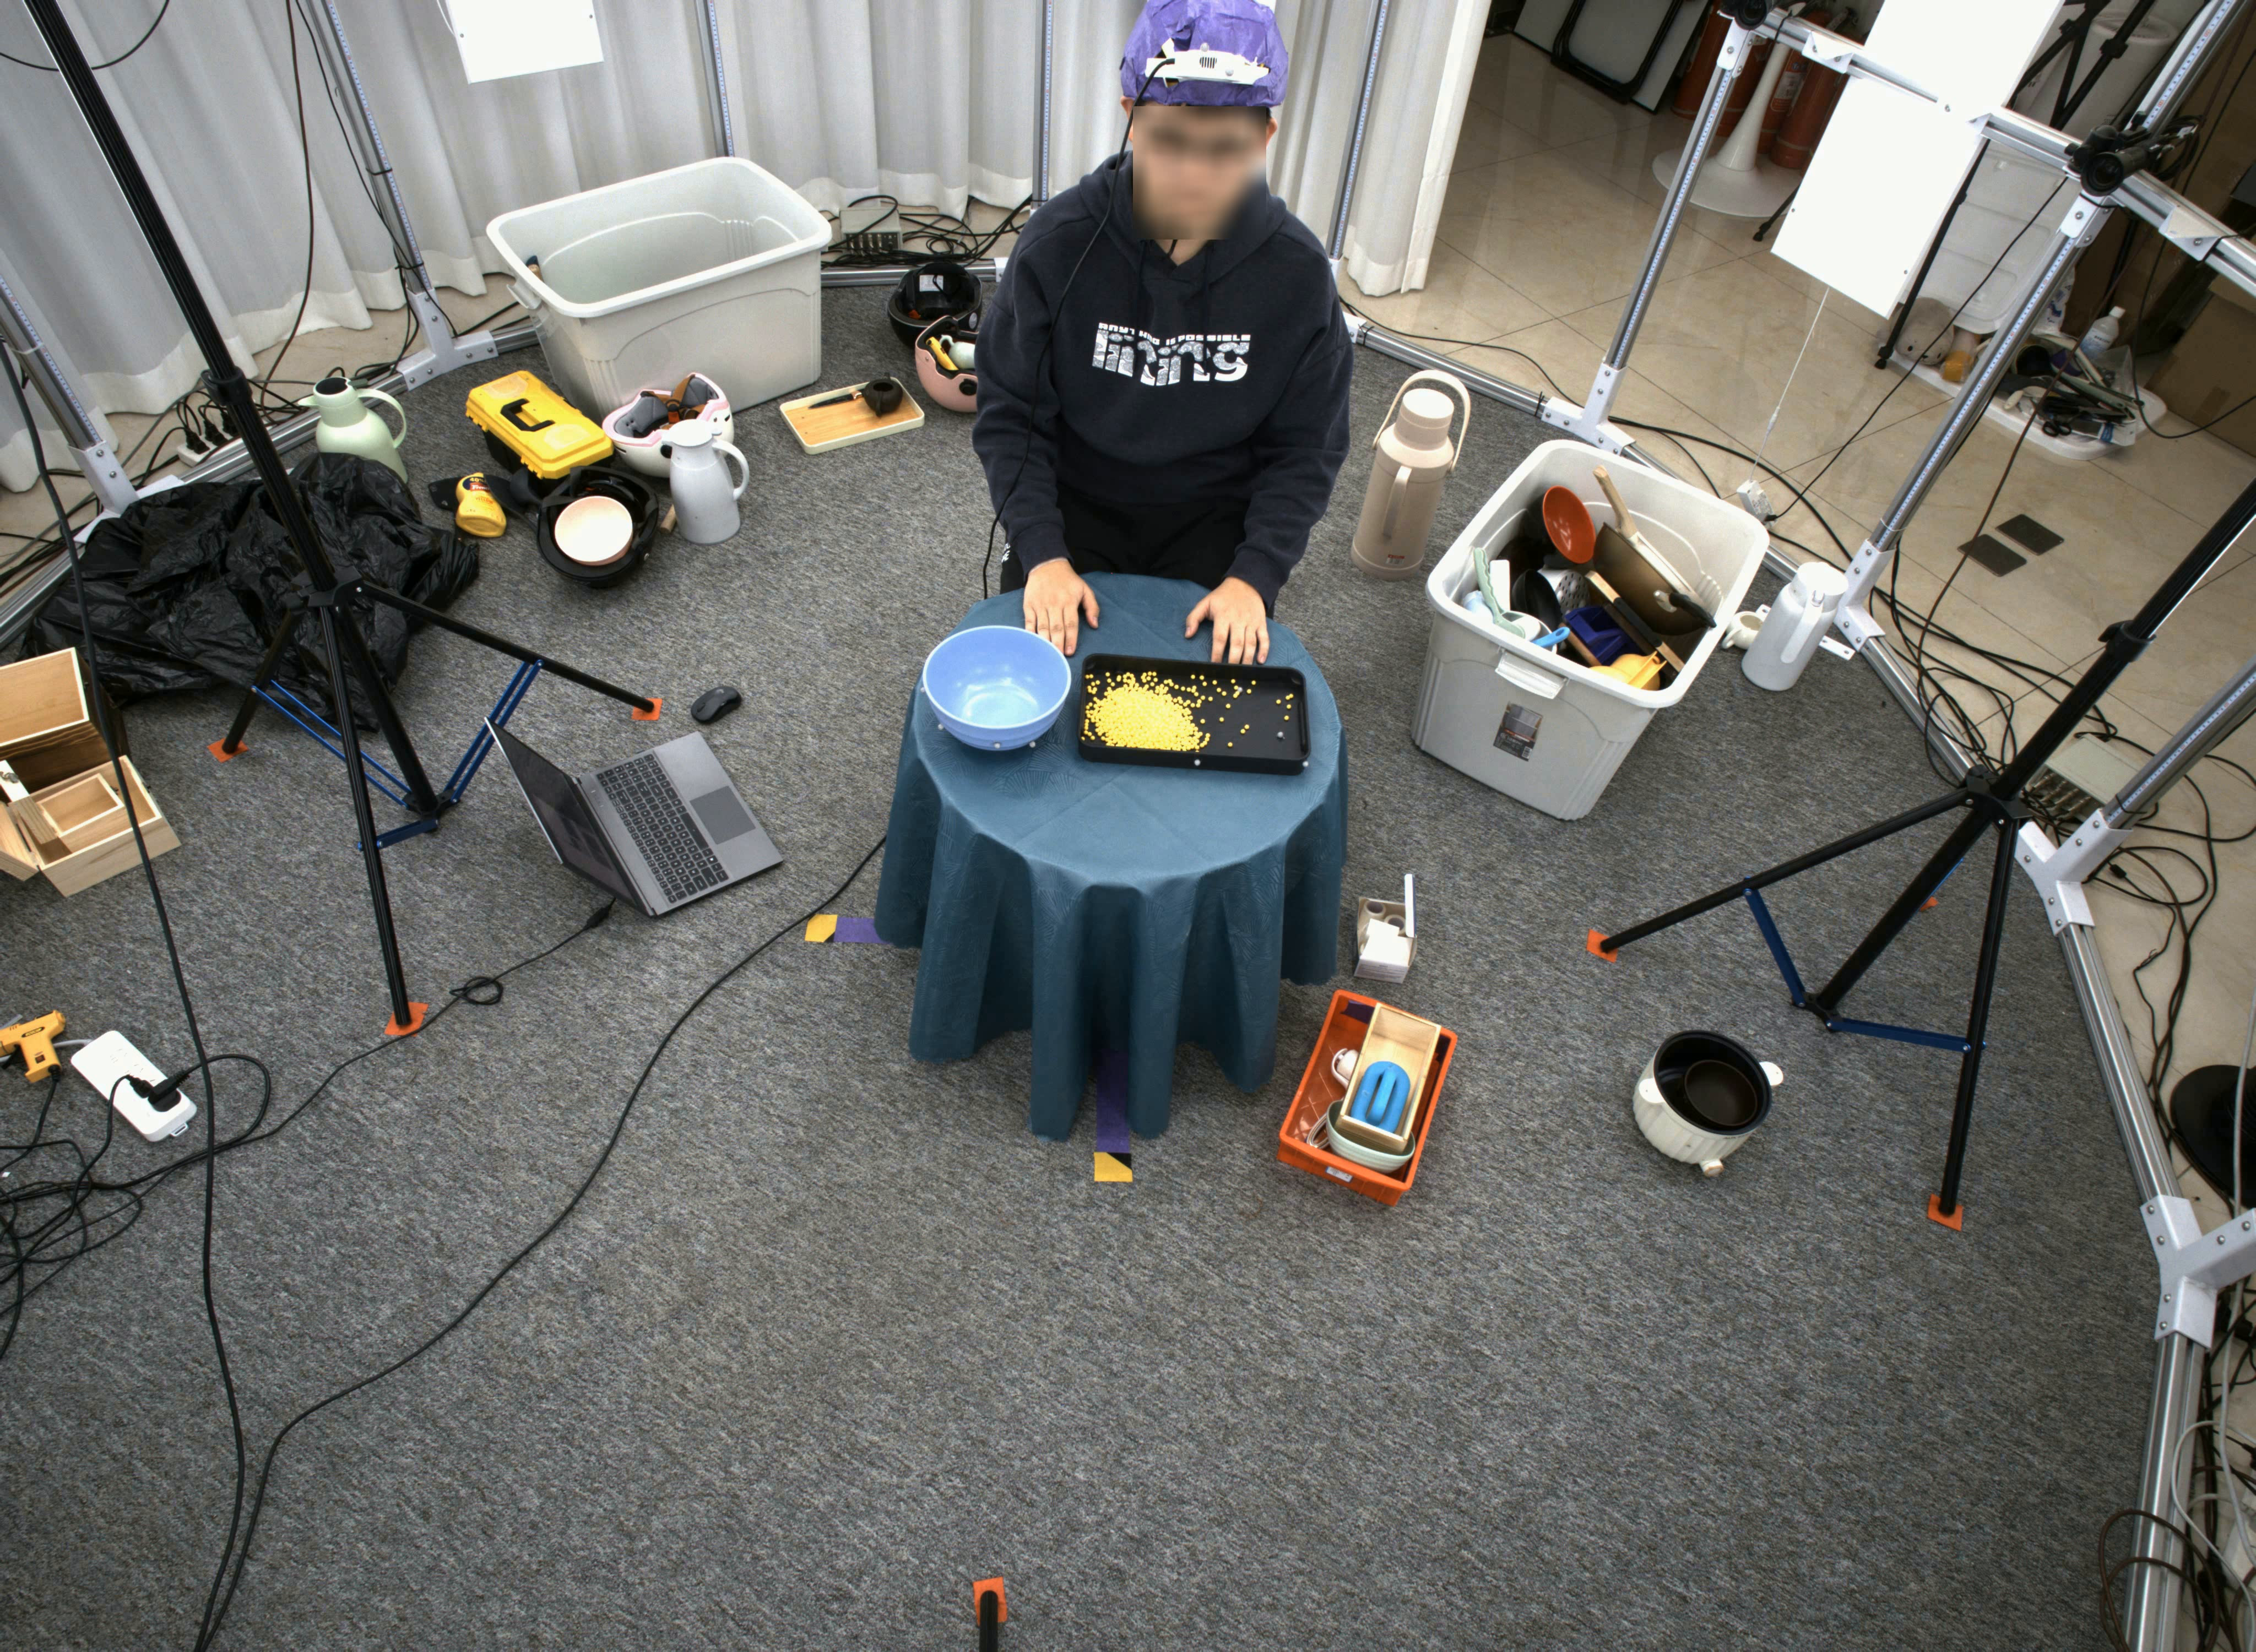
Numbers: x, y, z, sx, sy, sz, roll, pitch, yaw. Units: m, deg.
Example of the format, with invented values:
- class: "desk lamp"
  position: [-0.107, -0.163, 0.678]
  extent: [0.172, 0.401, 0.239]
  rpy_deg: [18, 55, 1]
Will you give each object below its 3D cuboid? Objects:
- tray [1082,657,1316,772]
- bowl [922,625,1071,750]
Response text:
- class: "tray"
  position: [0.096, -0.156, 1.787]
  extent: [0.318, 0.036, 0.189]
  rpy_deg: [2, 48, -1]
- class: "bowl"
  position: [-0.176, -0.172, 1.739]
  extent: [0.196, 0.093, 0.201]
  rpy_deg: [1, 50, -2]
